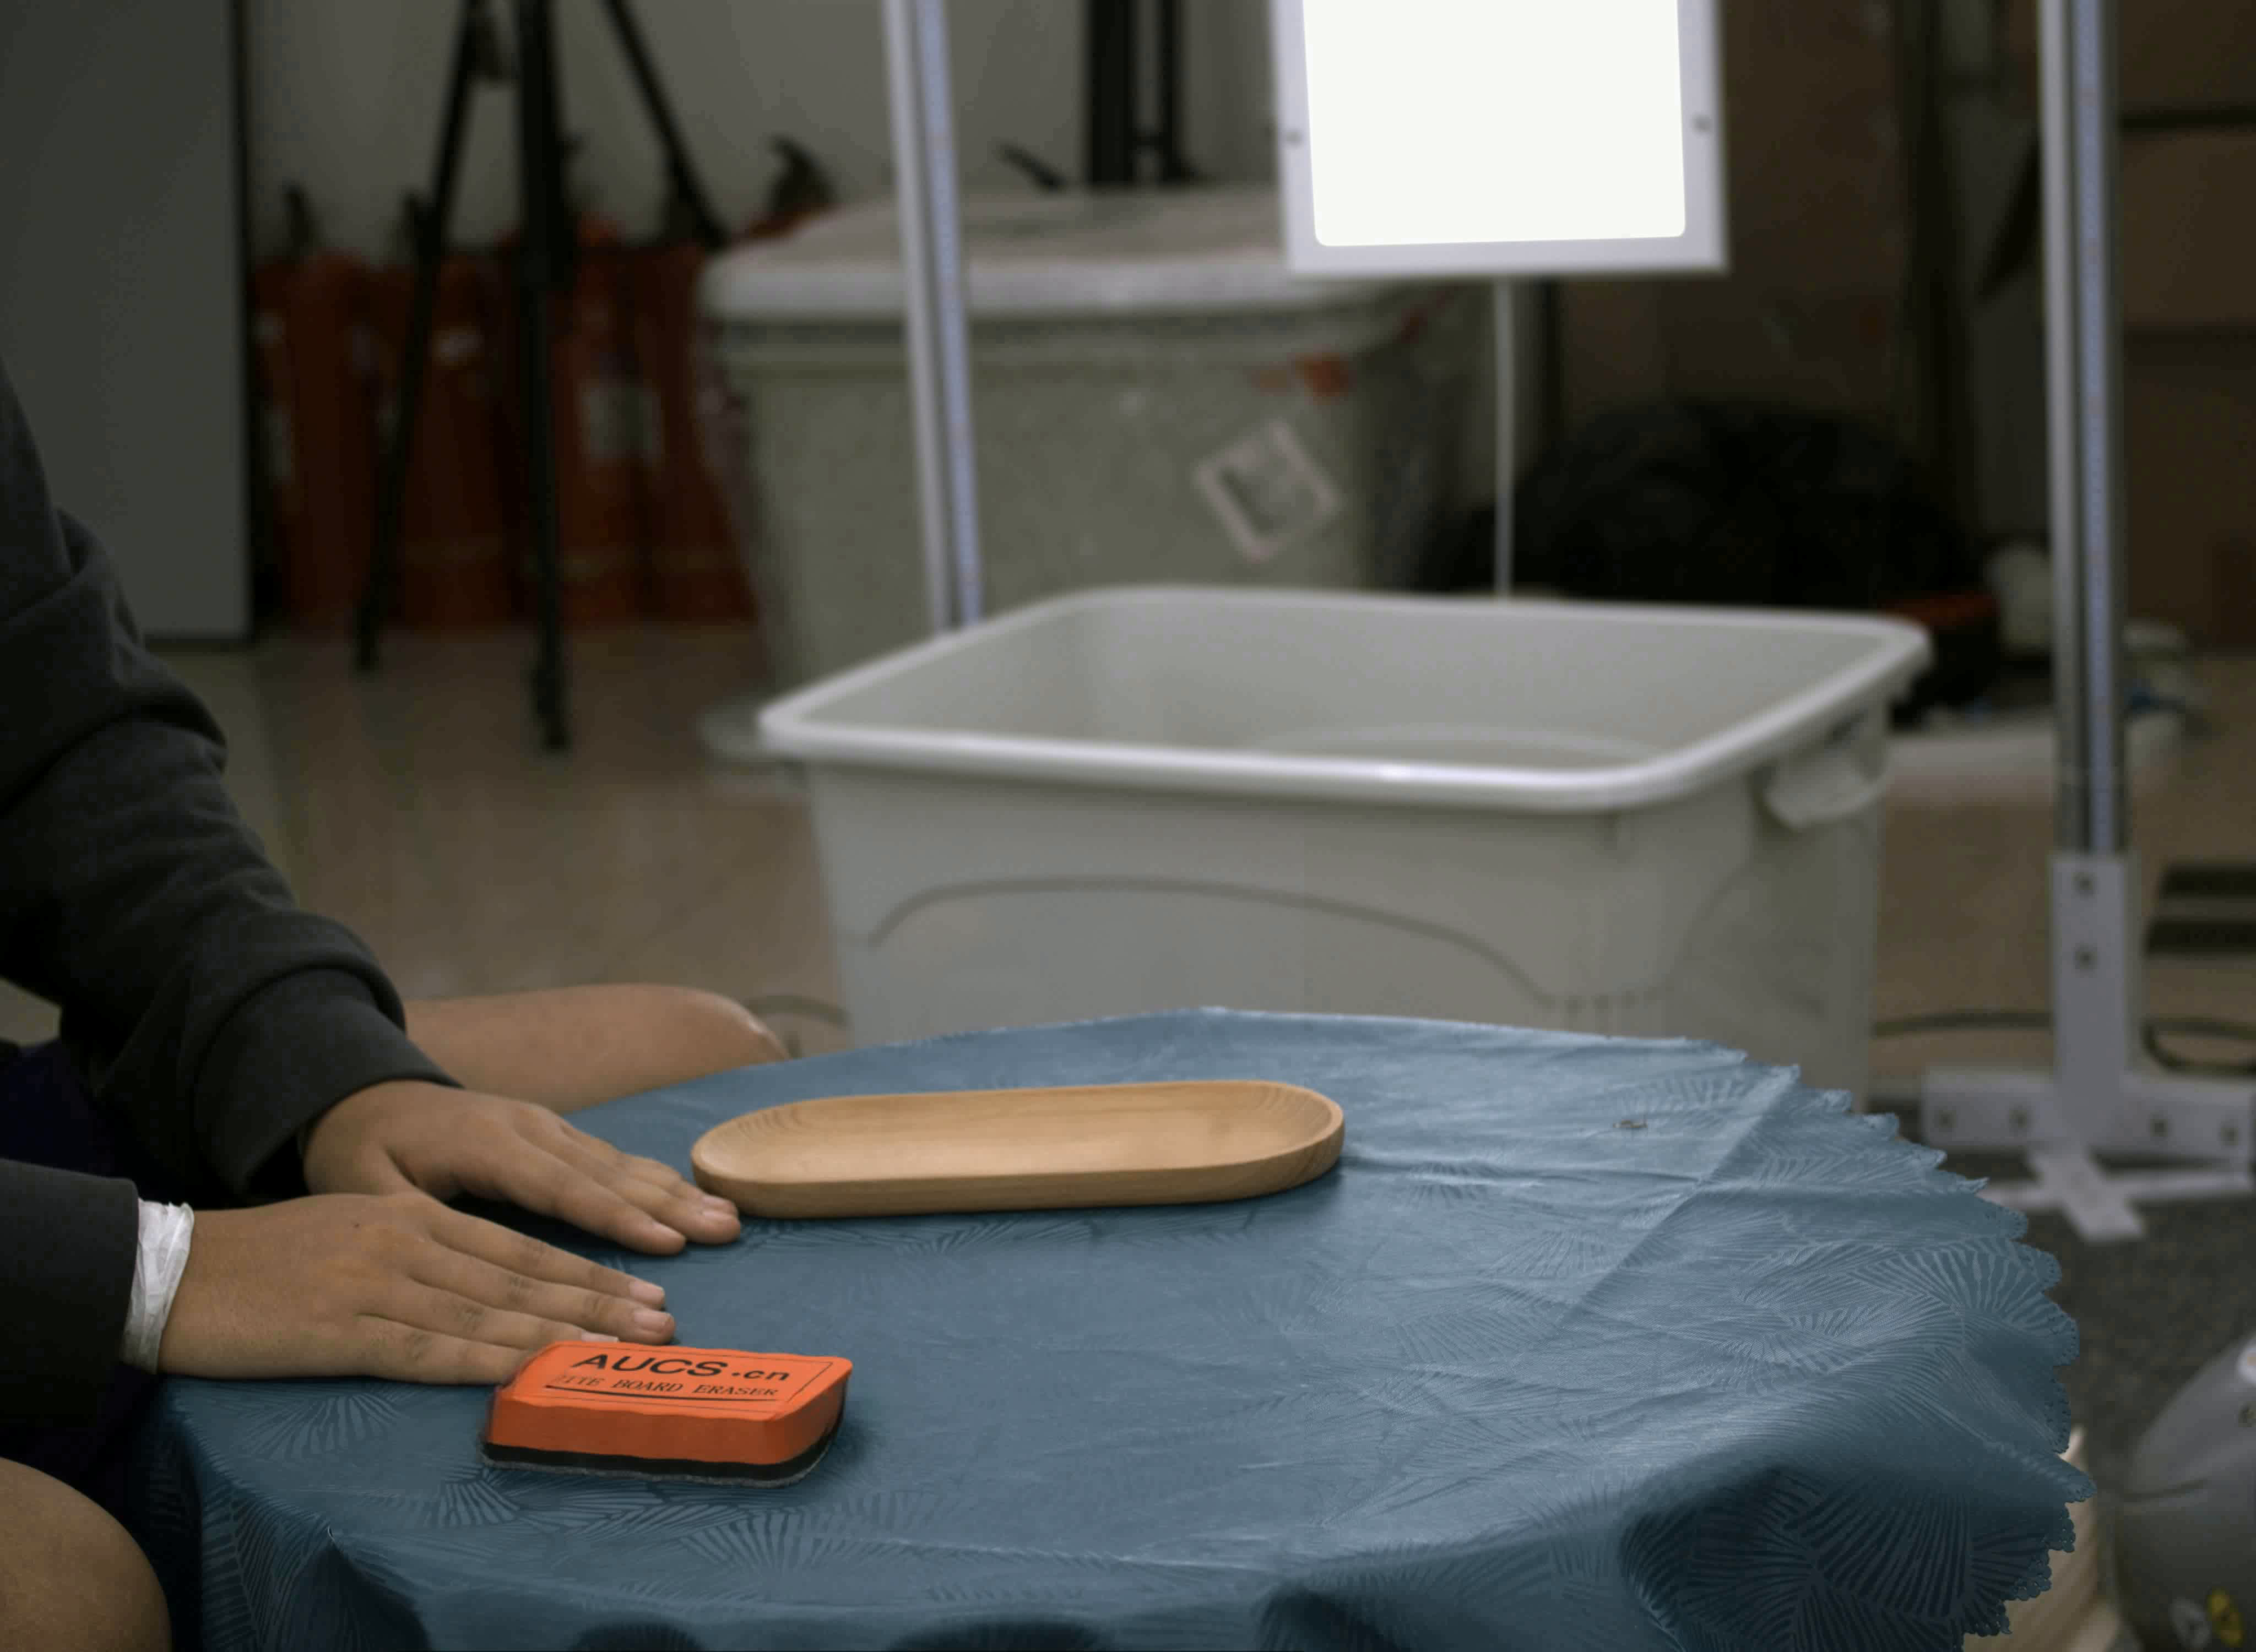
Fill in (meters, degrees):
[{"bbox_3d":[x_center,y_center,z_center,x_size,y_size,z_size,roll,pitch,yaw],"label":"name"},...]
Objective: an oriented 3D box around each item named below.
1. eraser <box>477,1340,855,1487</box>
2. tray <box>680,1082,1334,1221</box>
[{"bbox_3d":[-0.141,0.179,1.686,0.110,0.023,0.058,1,16,25],"label":"eraser"},{"bbox_3d":[-0.042,0.114,1.928,0.232,0.020,0.101,-4,13,8],"label":"tray"}]
